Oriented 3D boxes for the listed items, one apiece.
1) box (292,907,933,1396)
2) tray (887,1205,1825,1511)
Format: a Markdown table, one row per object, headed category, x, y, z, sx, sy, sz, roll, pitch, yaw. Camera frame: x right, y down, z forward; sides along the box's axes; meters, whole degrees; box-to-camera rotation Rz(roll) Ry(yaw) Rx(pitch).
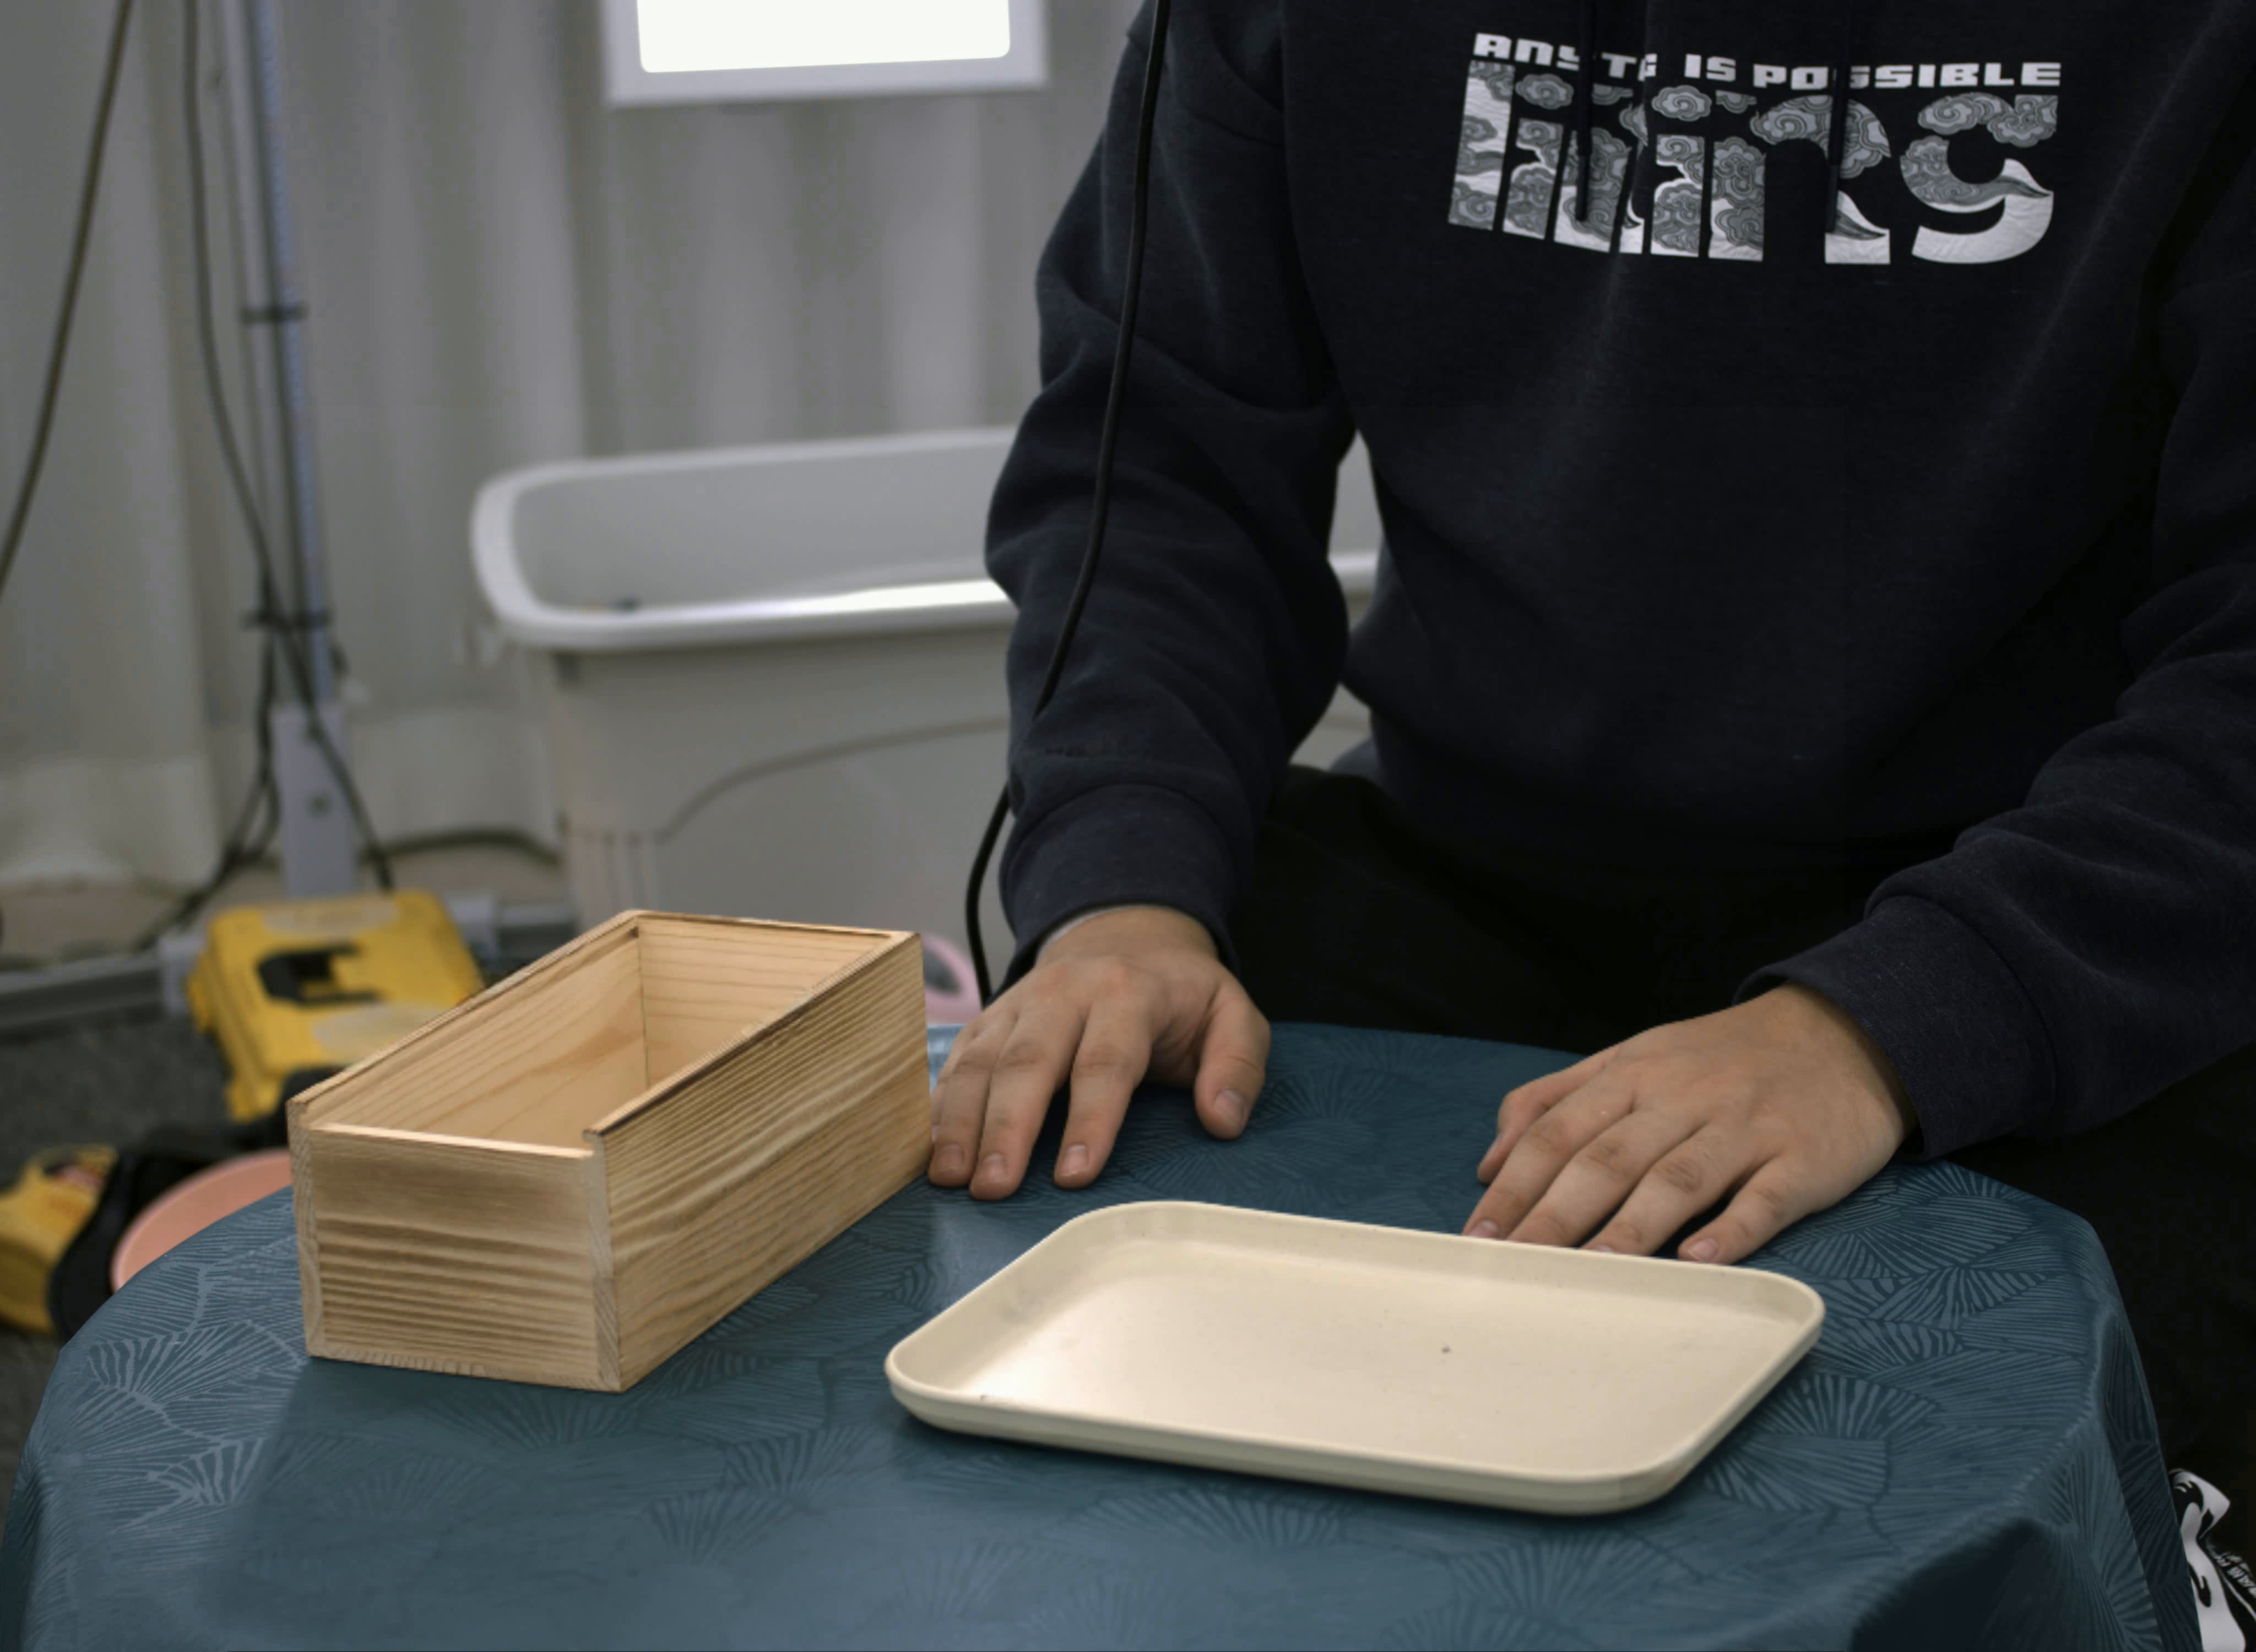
| category | x | y | z | sx | sy | sz | roll | pitch | yaw |
| --- | --- | --- | --- | --- | --- | --- | --- | --- | --- |
| box | -0.152 | 0.095 | 1.665 | 0.107 | 0.080 | 0.212 | 4 | 16 | 23 |
| tray | 0.065 | 0.149 | 1.542 | 0.240 | 0.017 | 0.171 | 4 | 16 | 26 |
